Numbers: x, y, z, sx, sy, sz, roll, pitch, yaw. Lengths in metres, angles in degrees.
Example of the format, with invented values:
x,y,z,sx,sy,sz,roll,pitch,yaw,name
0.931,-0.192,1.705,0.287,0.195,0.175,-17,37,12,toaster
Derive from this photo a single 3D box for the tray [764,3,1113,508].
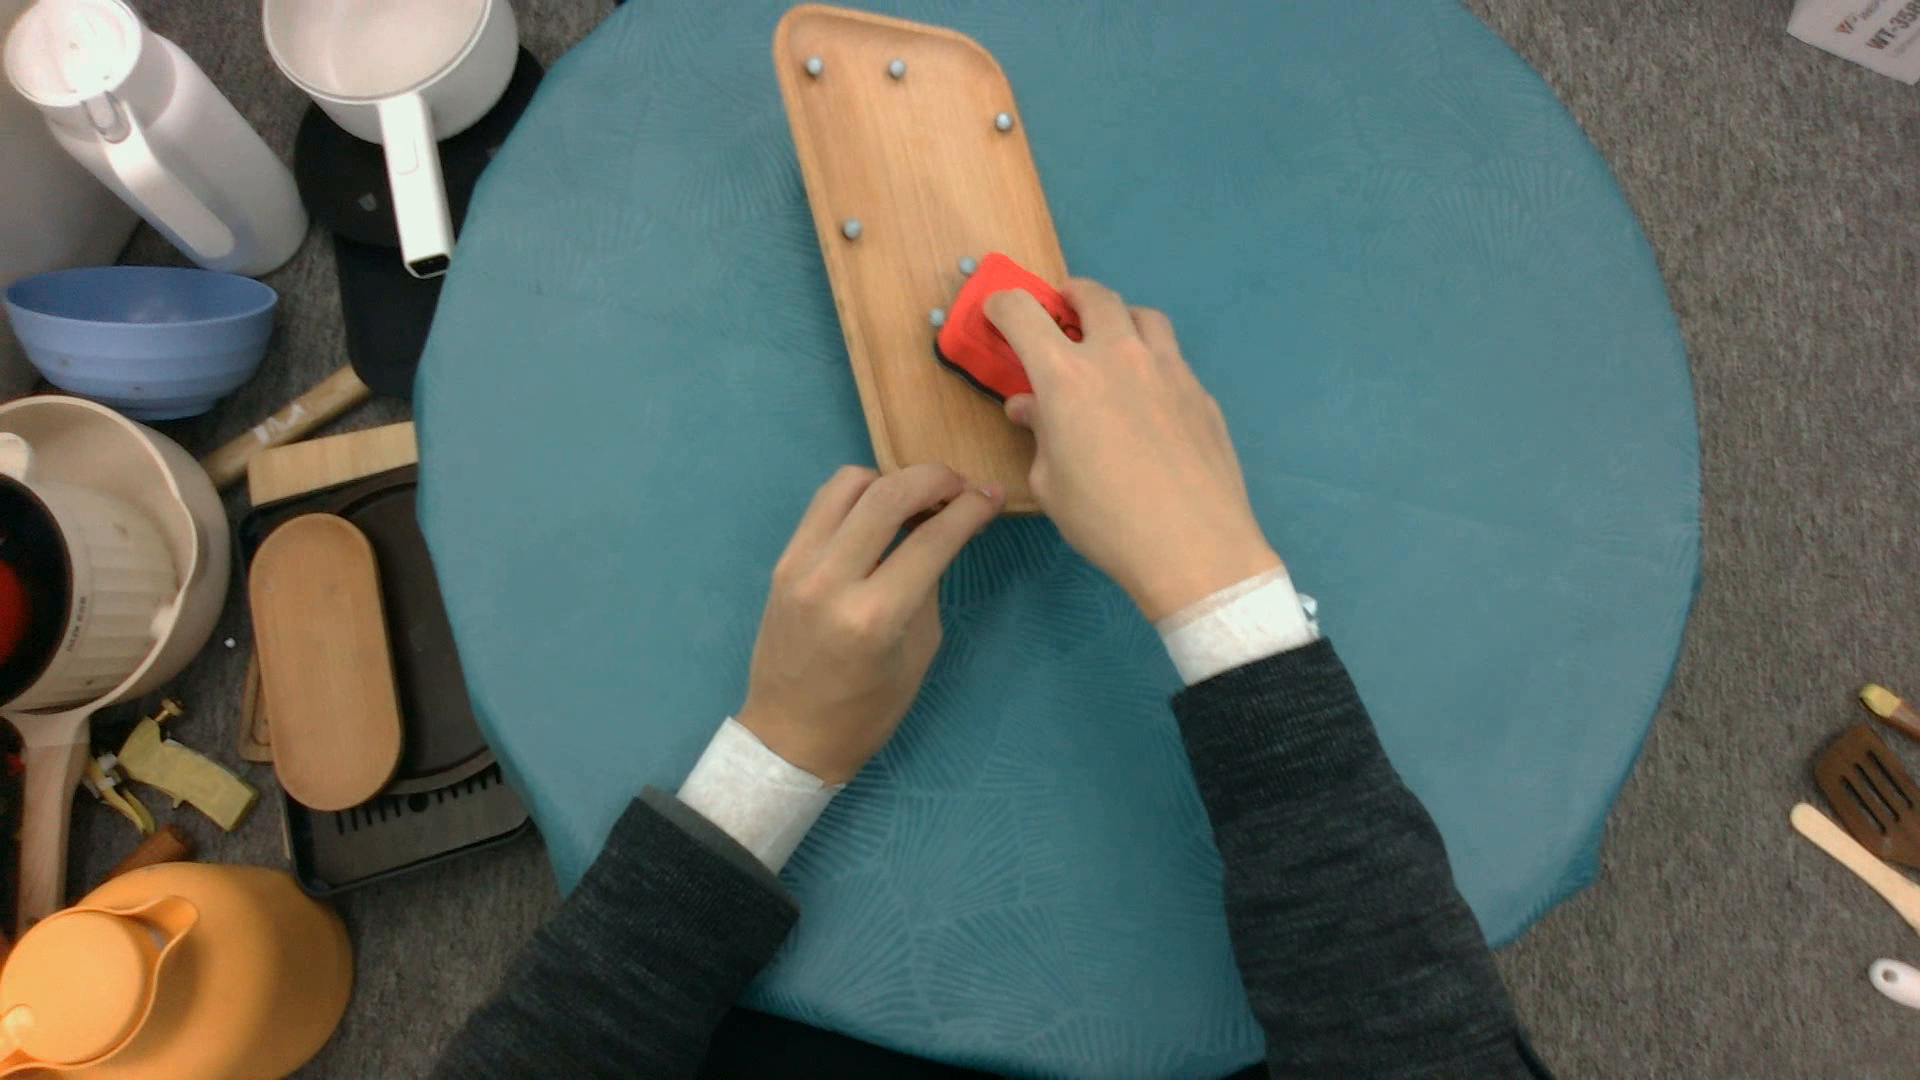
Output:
x,y,z,sx,sy,sz,roll,pitch,yaw,name
-0.011,-0.130,0.623,0.131,0.023,0.251,-3,71,-32,tray

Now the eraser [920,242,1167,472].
x,y,z,sx,sy,sz,roll,pitch,yaw,name
0.038,-0.081,0.613,0.108,0.023,0.059,33,59,-11,eraser
